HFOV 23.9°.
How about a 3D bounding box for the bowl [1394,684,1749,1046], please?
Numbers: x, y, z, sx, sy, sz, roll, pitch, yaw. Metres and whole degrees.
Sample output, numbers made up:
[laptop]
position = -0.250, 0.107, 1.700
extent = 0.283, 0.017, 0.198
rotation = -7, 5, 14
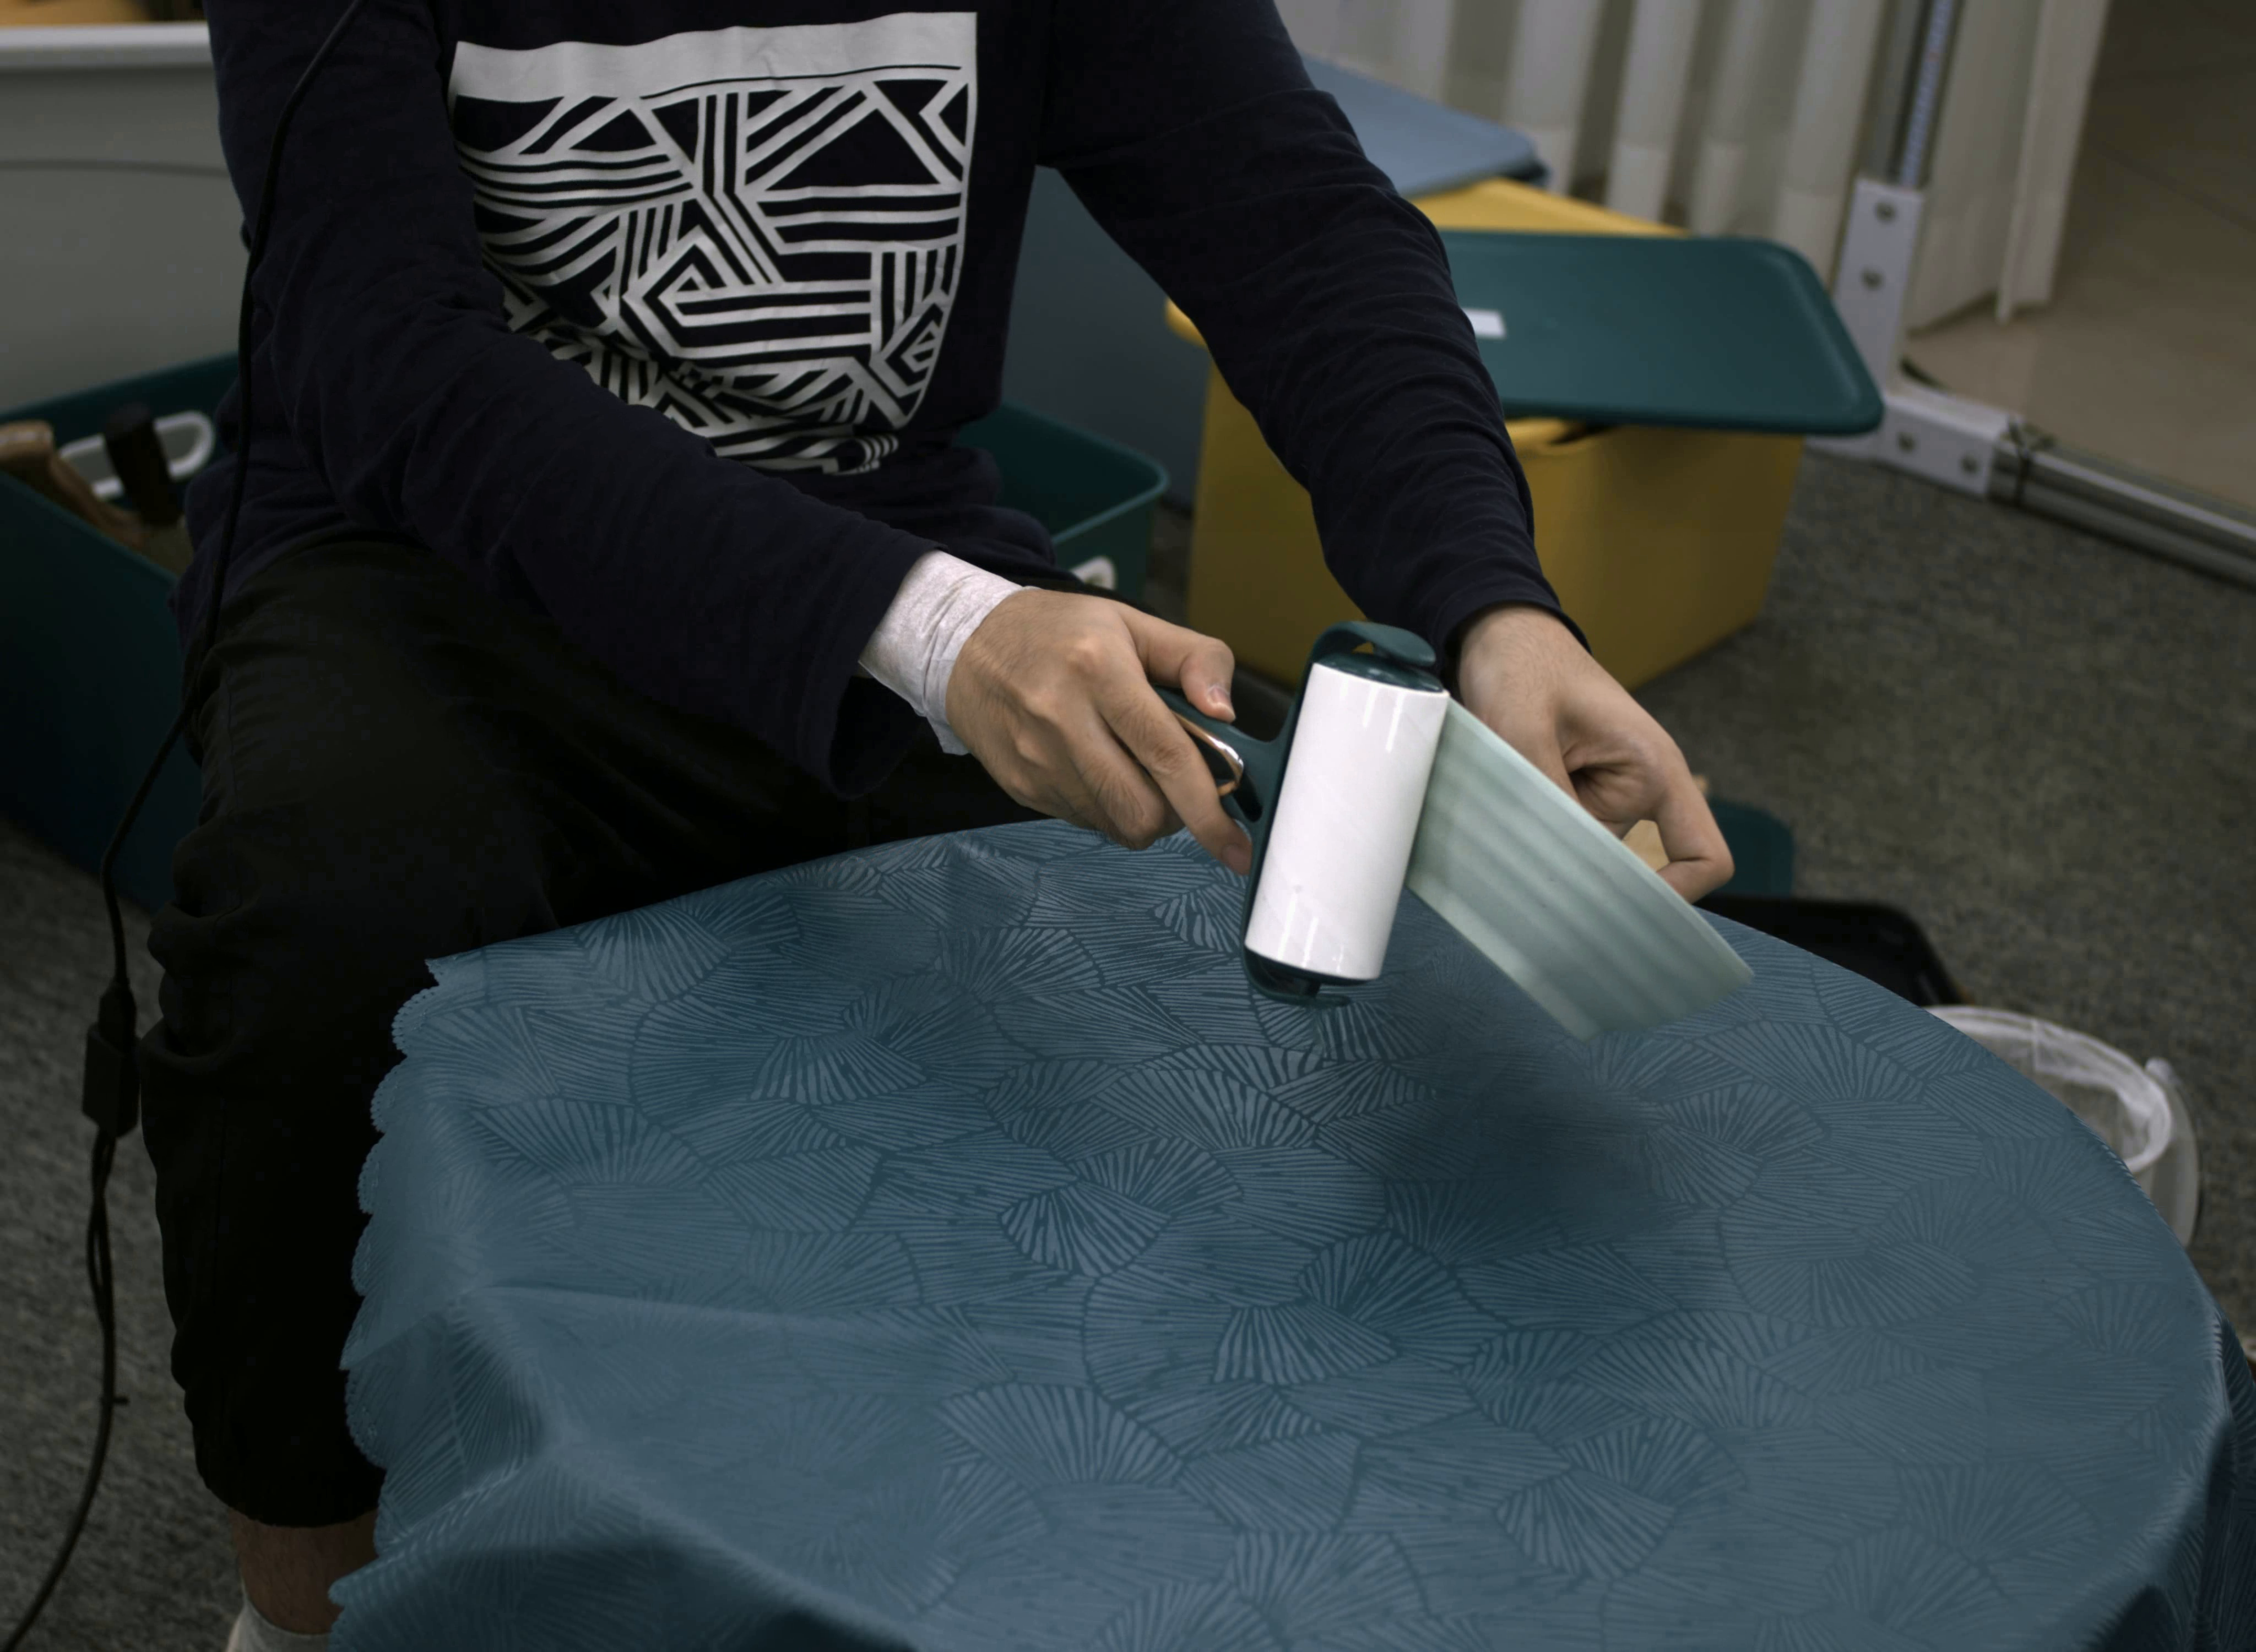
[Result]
[bowl]
position = 0.139, 0.023, 1.817
extent = 0.151, 0.058, 0.151
rotation = 43, 4, -4

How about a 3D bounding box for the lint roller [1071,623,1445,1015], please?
[lint roller]
position = 0.027, -0.019, 1.826
extent = 0.048, 0.134, 0.181
rotation = 7, 9, -45
